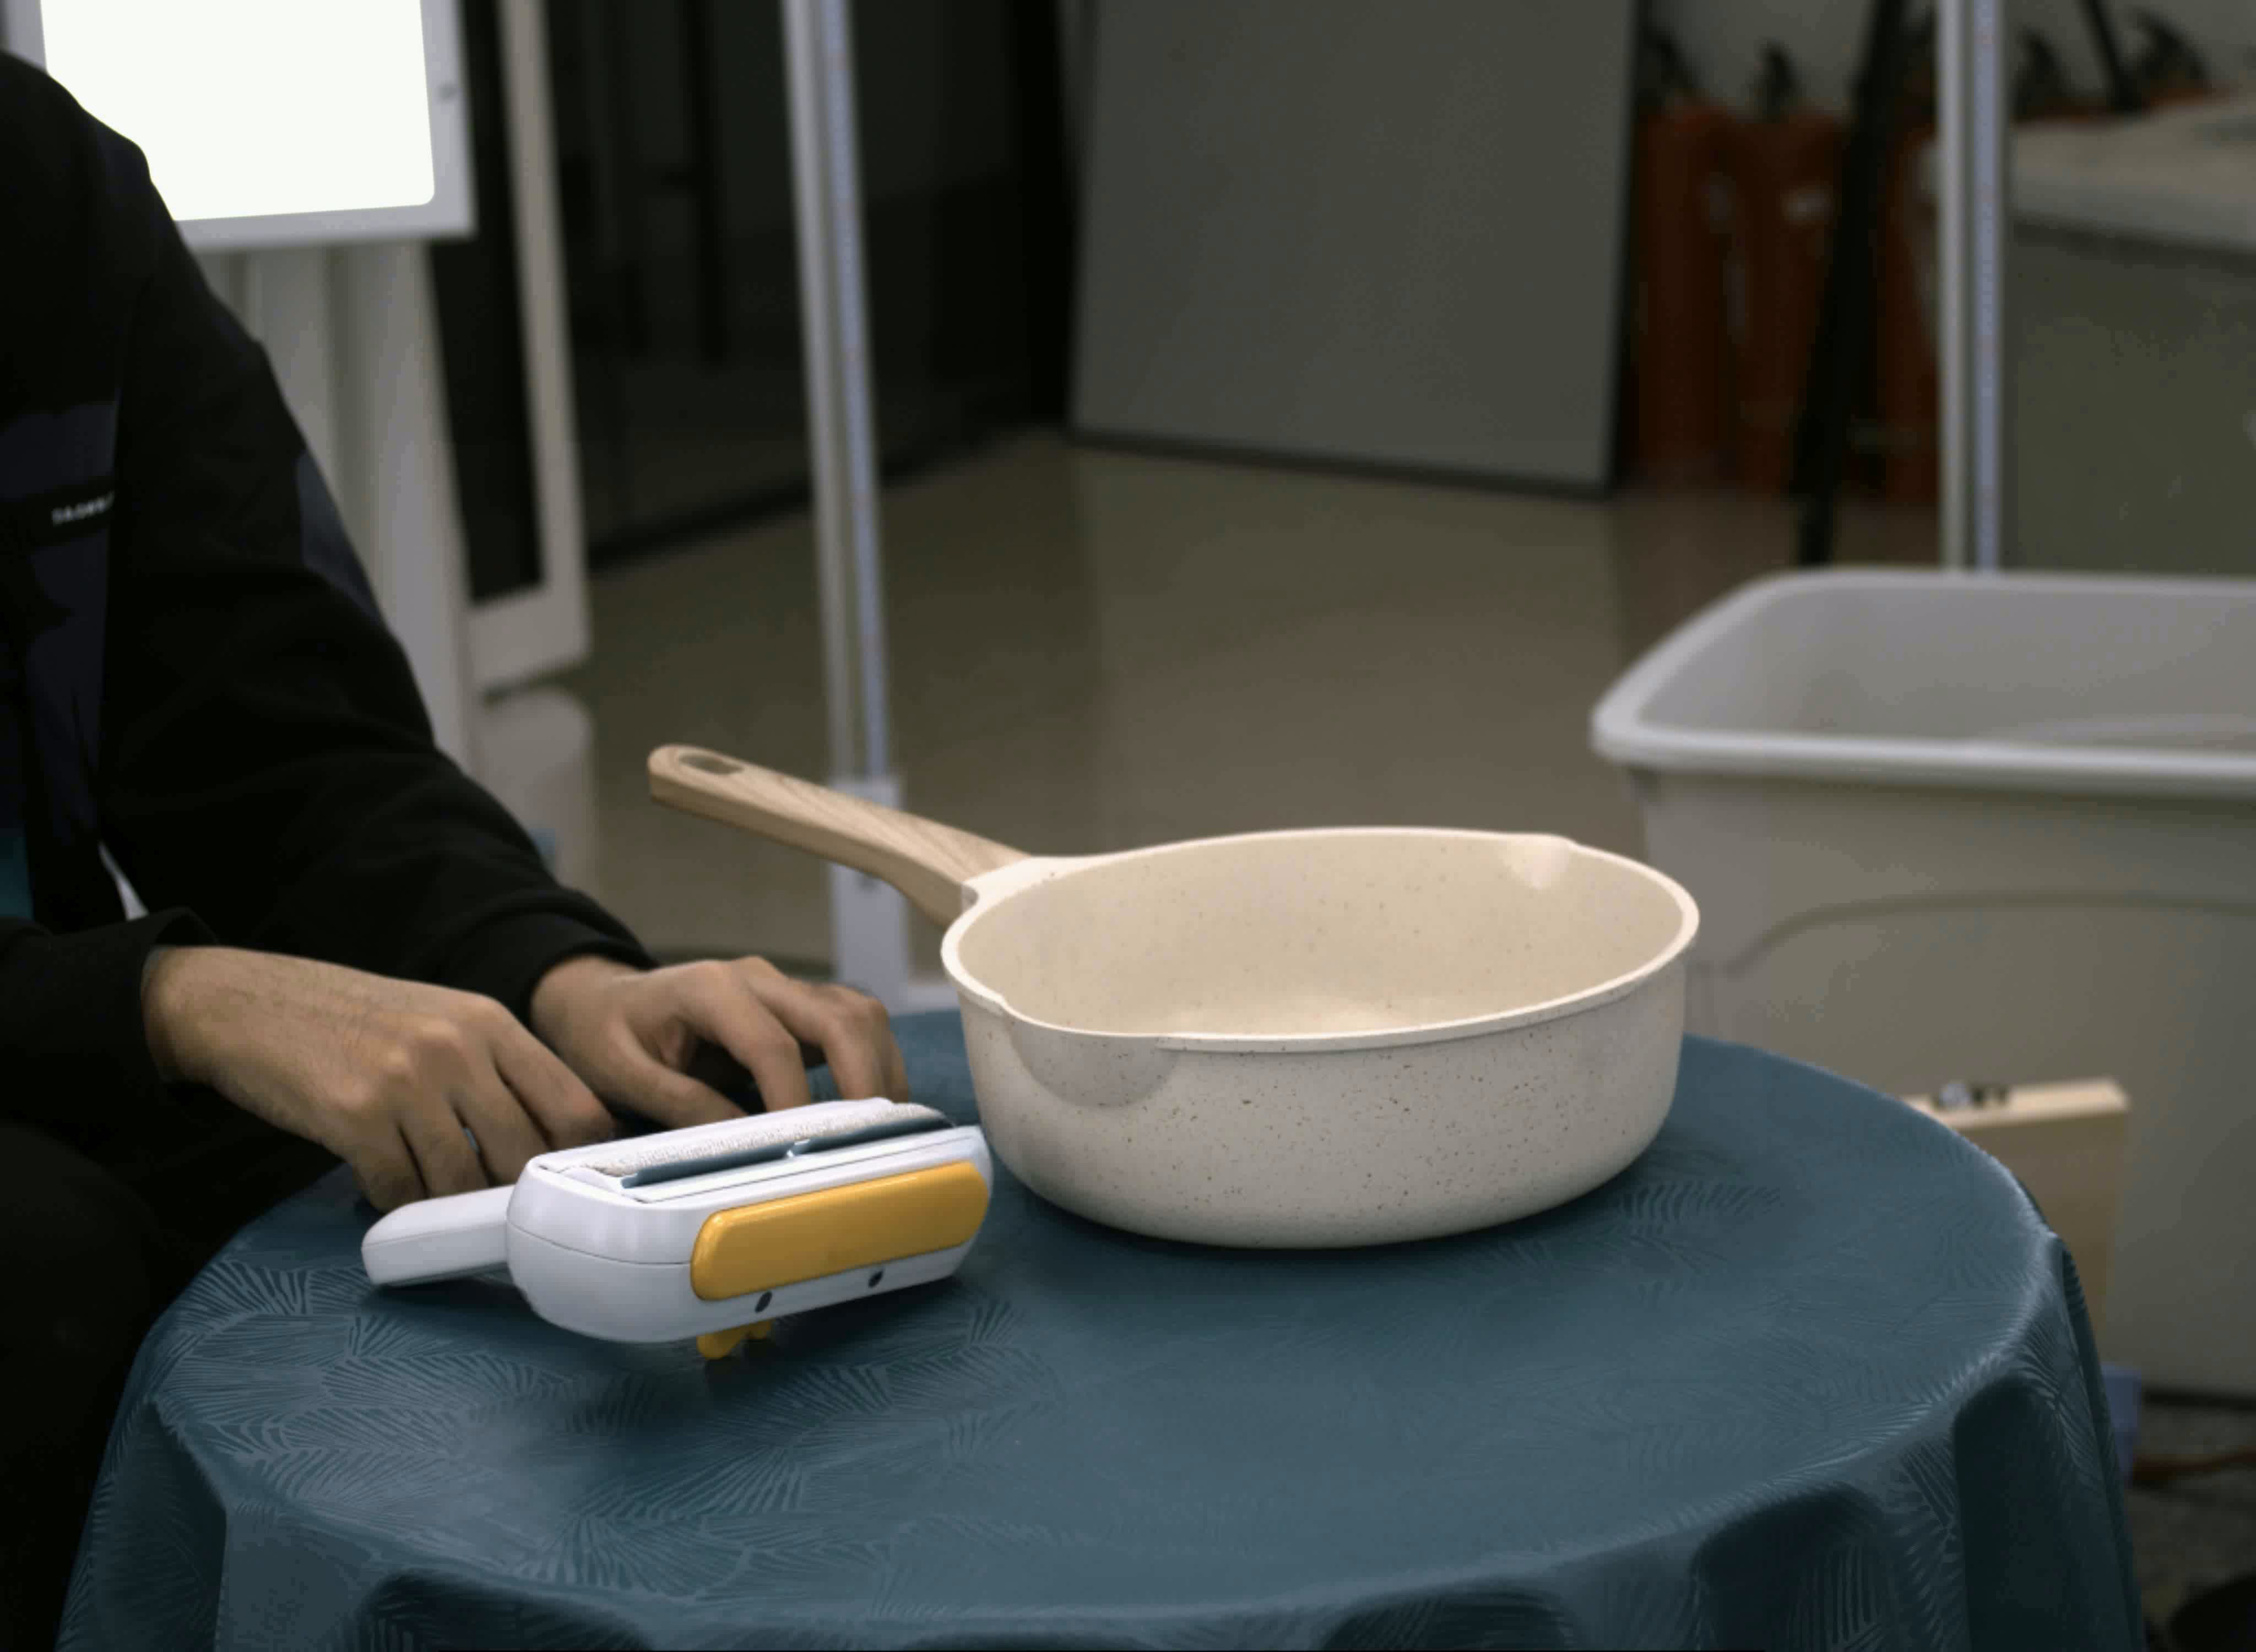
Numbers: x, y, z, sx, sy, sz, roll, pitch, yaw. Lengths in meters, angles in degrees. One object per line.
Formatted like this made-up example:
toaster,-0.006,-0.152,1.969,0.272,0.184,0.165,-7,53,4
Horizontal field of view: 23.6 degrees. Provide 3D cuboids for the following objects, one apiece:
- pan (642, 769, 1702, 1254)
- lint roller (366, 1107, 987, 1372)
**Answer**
pan,-0.002,0.052,1.842,0.438,0.103,0.258,8,21,41
lint roller,-0.162,0.123,1.672,0.194,0.075,0.189,4,10,38
